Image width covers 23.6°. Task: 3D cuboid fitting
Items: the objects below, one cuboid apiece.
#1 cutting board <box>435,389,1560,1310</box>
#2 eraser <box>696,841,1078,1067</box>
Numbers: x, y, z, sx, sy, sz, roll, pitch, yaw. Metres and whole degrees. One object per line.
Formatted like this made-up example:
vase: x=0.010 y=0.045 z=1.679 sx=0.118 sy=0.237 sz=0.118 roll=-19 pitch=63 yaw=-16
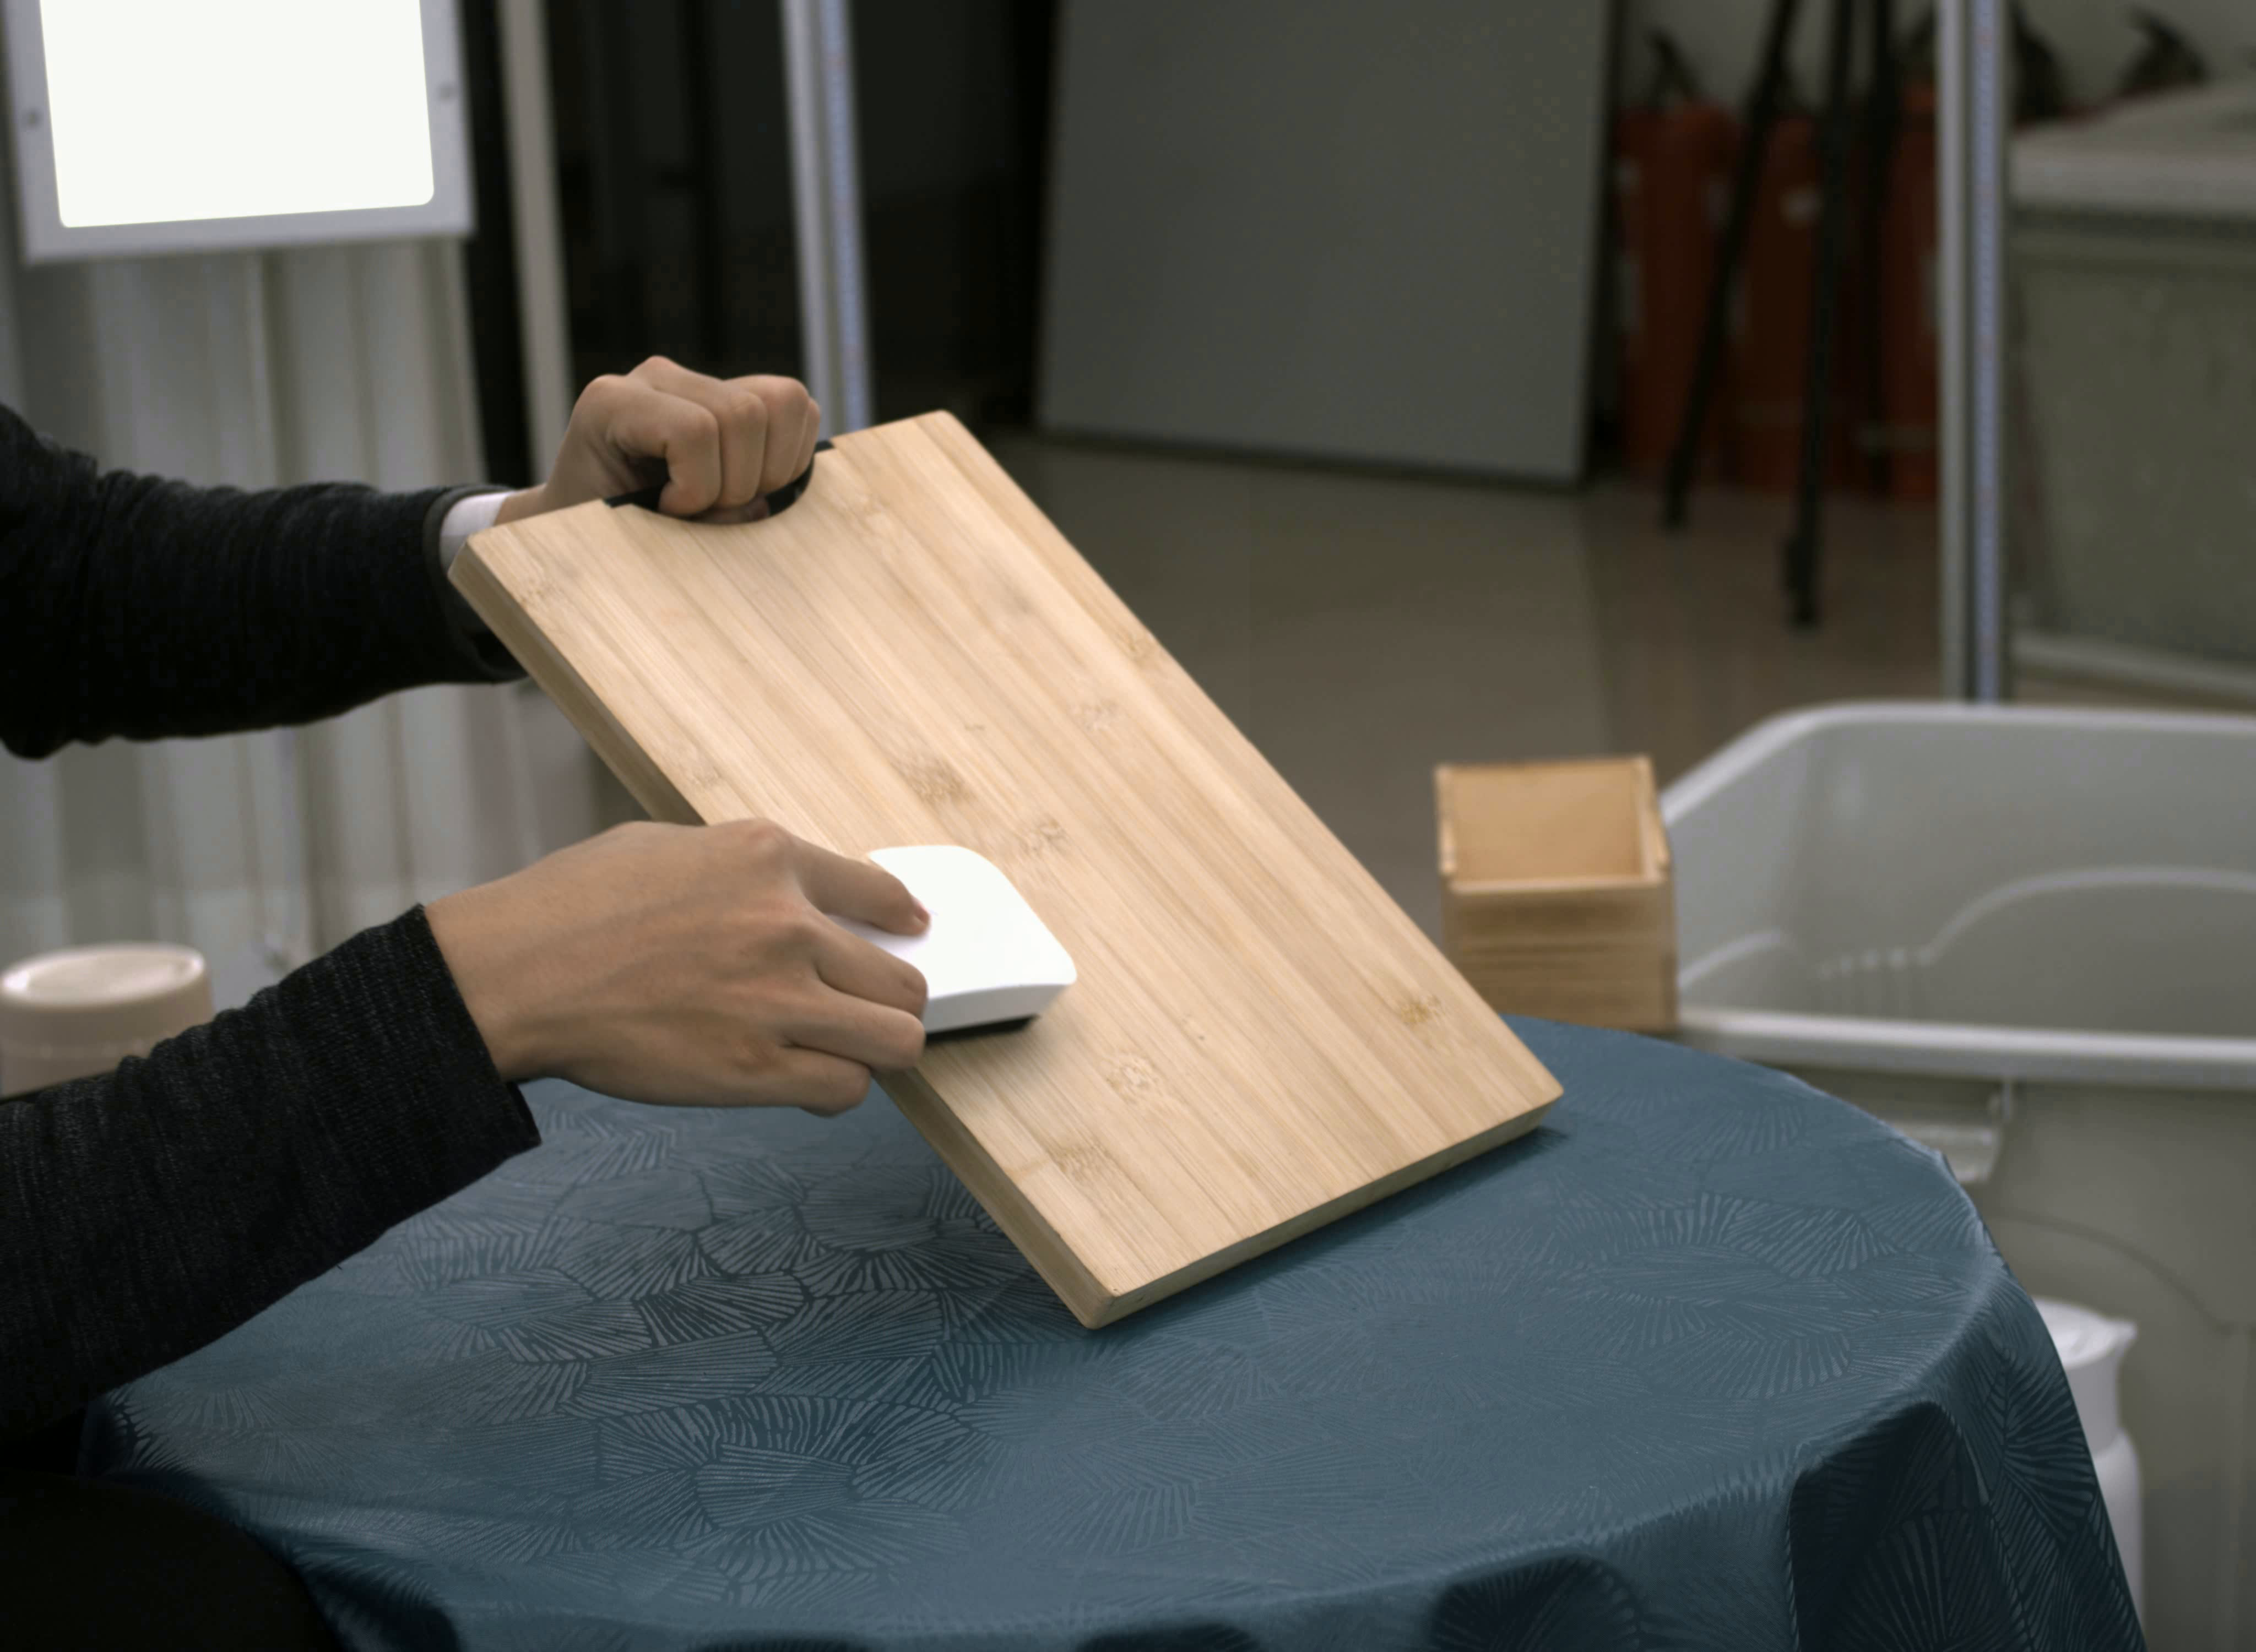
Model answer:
cutting board: x=-0.041 y=-0.001 z=1.783 sx=0.246 sy=0.024 sz=0.352 roll=-19 pitch=60 yaw=-47
eraser: x=-0.073 y=0.038 z=1.661 sx=0.128 sy=0.035 sz=0.064 roll=-5 pitch=49 yaw=-49
